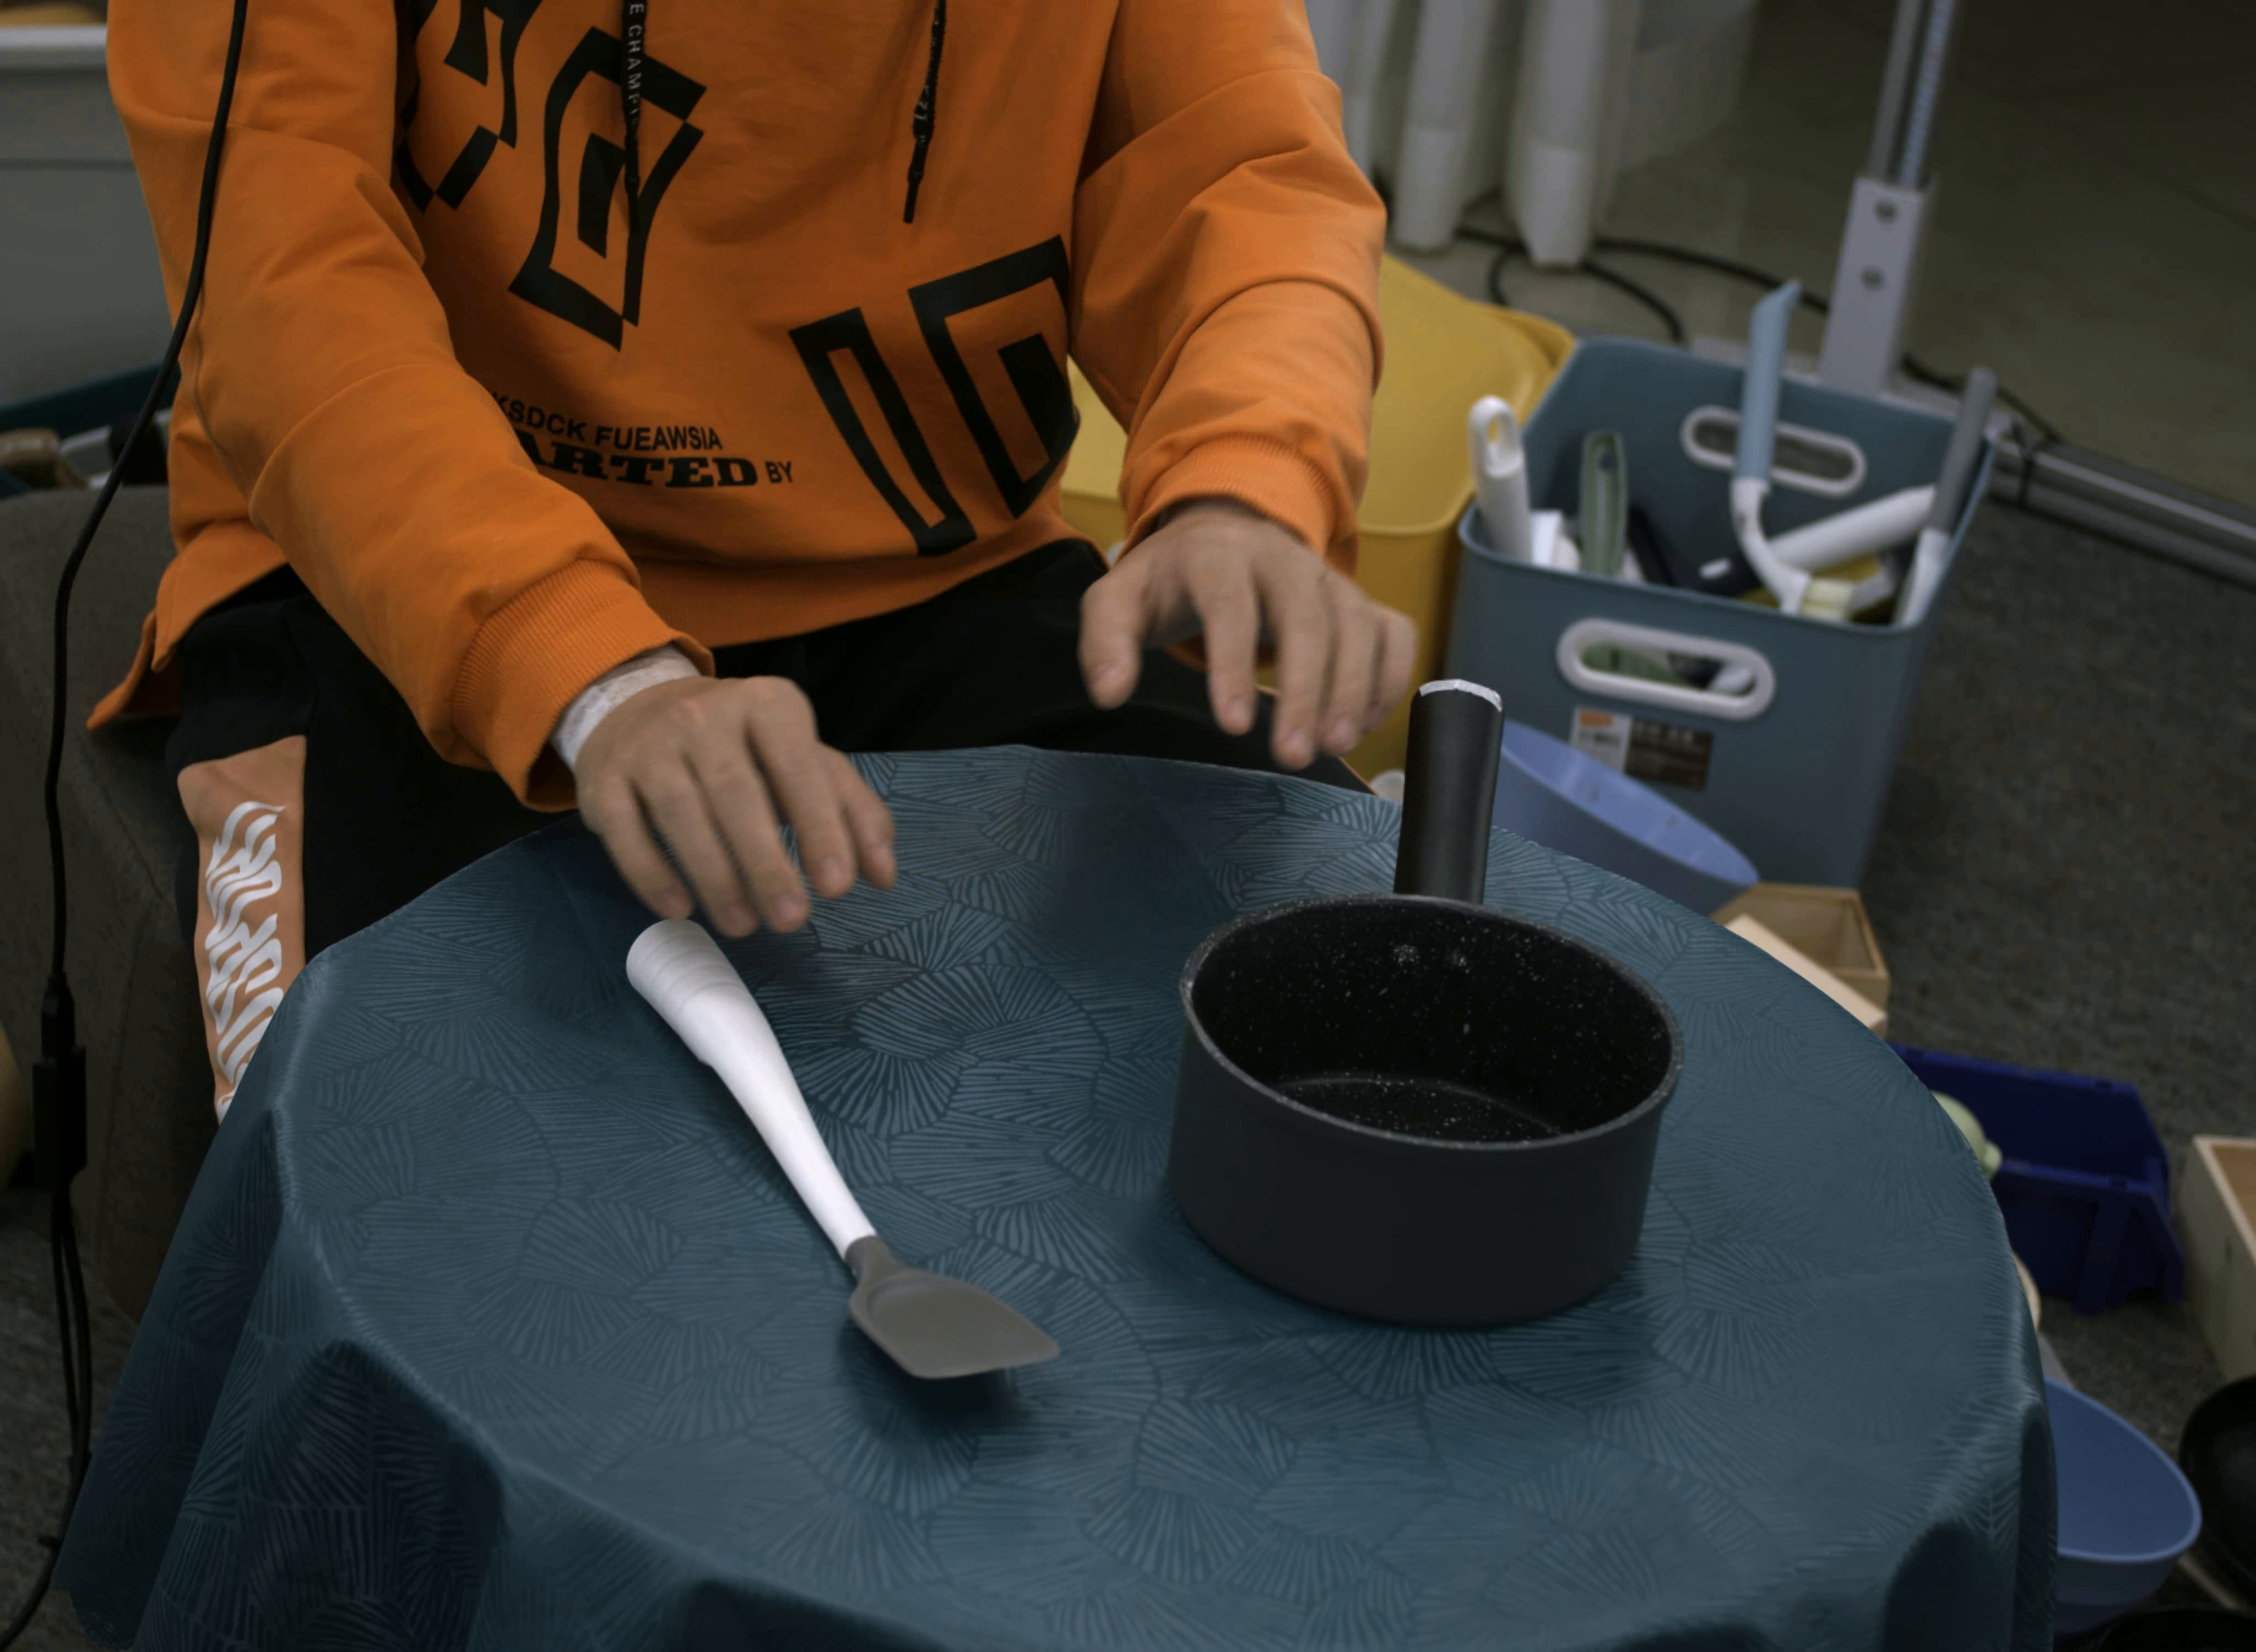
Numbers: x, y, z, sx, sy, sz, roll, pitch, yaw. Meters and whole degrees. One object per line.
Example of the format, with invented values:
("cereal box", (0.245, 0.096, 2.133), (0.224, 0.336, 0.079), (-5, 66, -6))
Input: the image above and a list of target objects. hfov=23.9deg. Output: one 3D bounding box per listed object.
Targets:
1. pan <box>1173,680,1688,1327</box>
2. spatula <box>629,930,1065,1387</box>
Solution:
("pan", (0.109, 0.057, 1.864), (0.172, 0.086, 0.330), (9, 29, 4))
("spatula", (-0.101, 0.114, 1.764), (0.058, 0.032, 0.290), (-2, 27, -27))
